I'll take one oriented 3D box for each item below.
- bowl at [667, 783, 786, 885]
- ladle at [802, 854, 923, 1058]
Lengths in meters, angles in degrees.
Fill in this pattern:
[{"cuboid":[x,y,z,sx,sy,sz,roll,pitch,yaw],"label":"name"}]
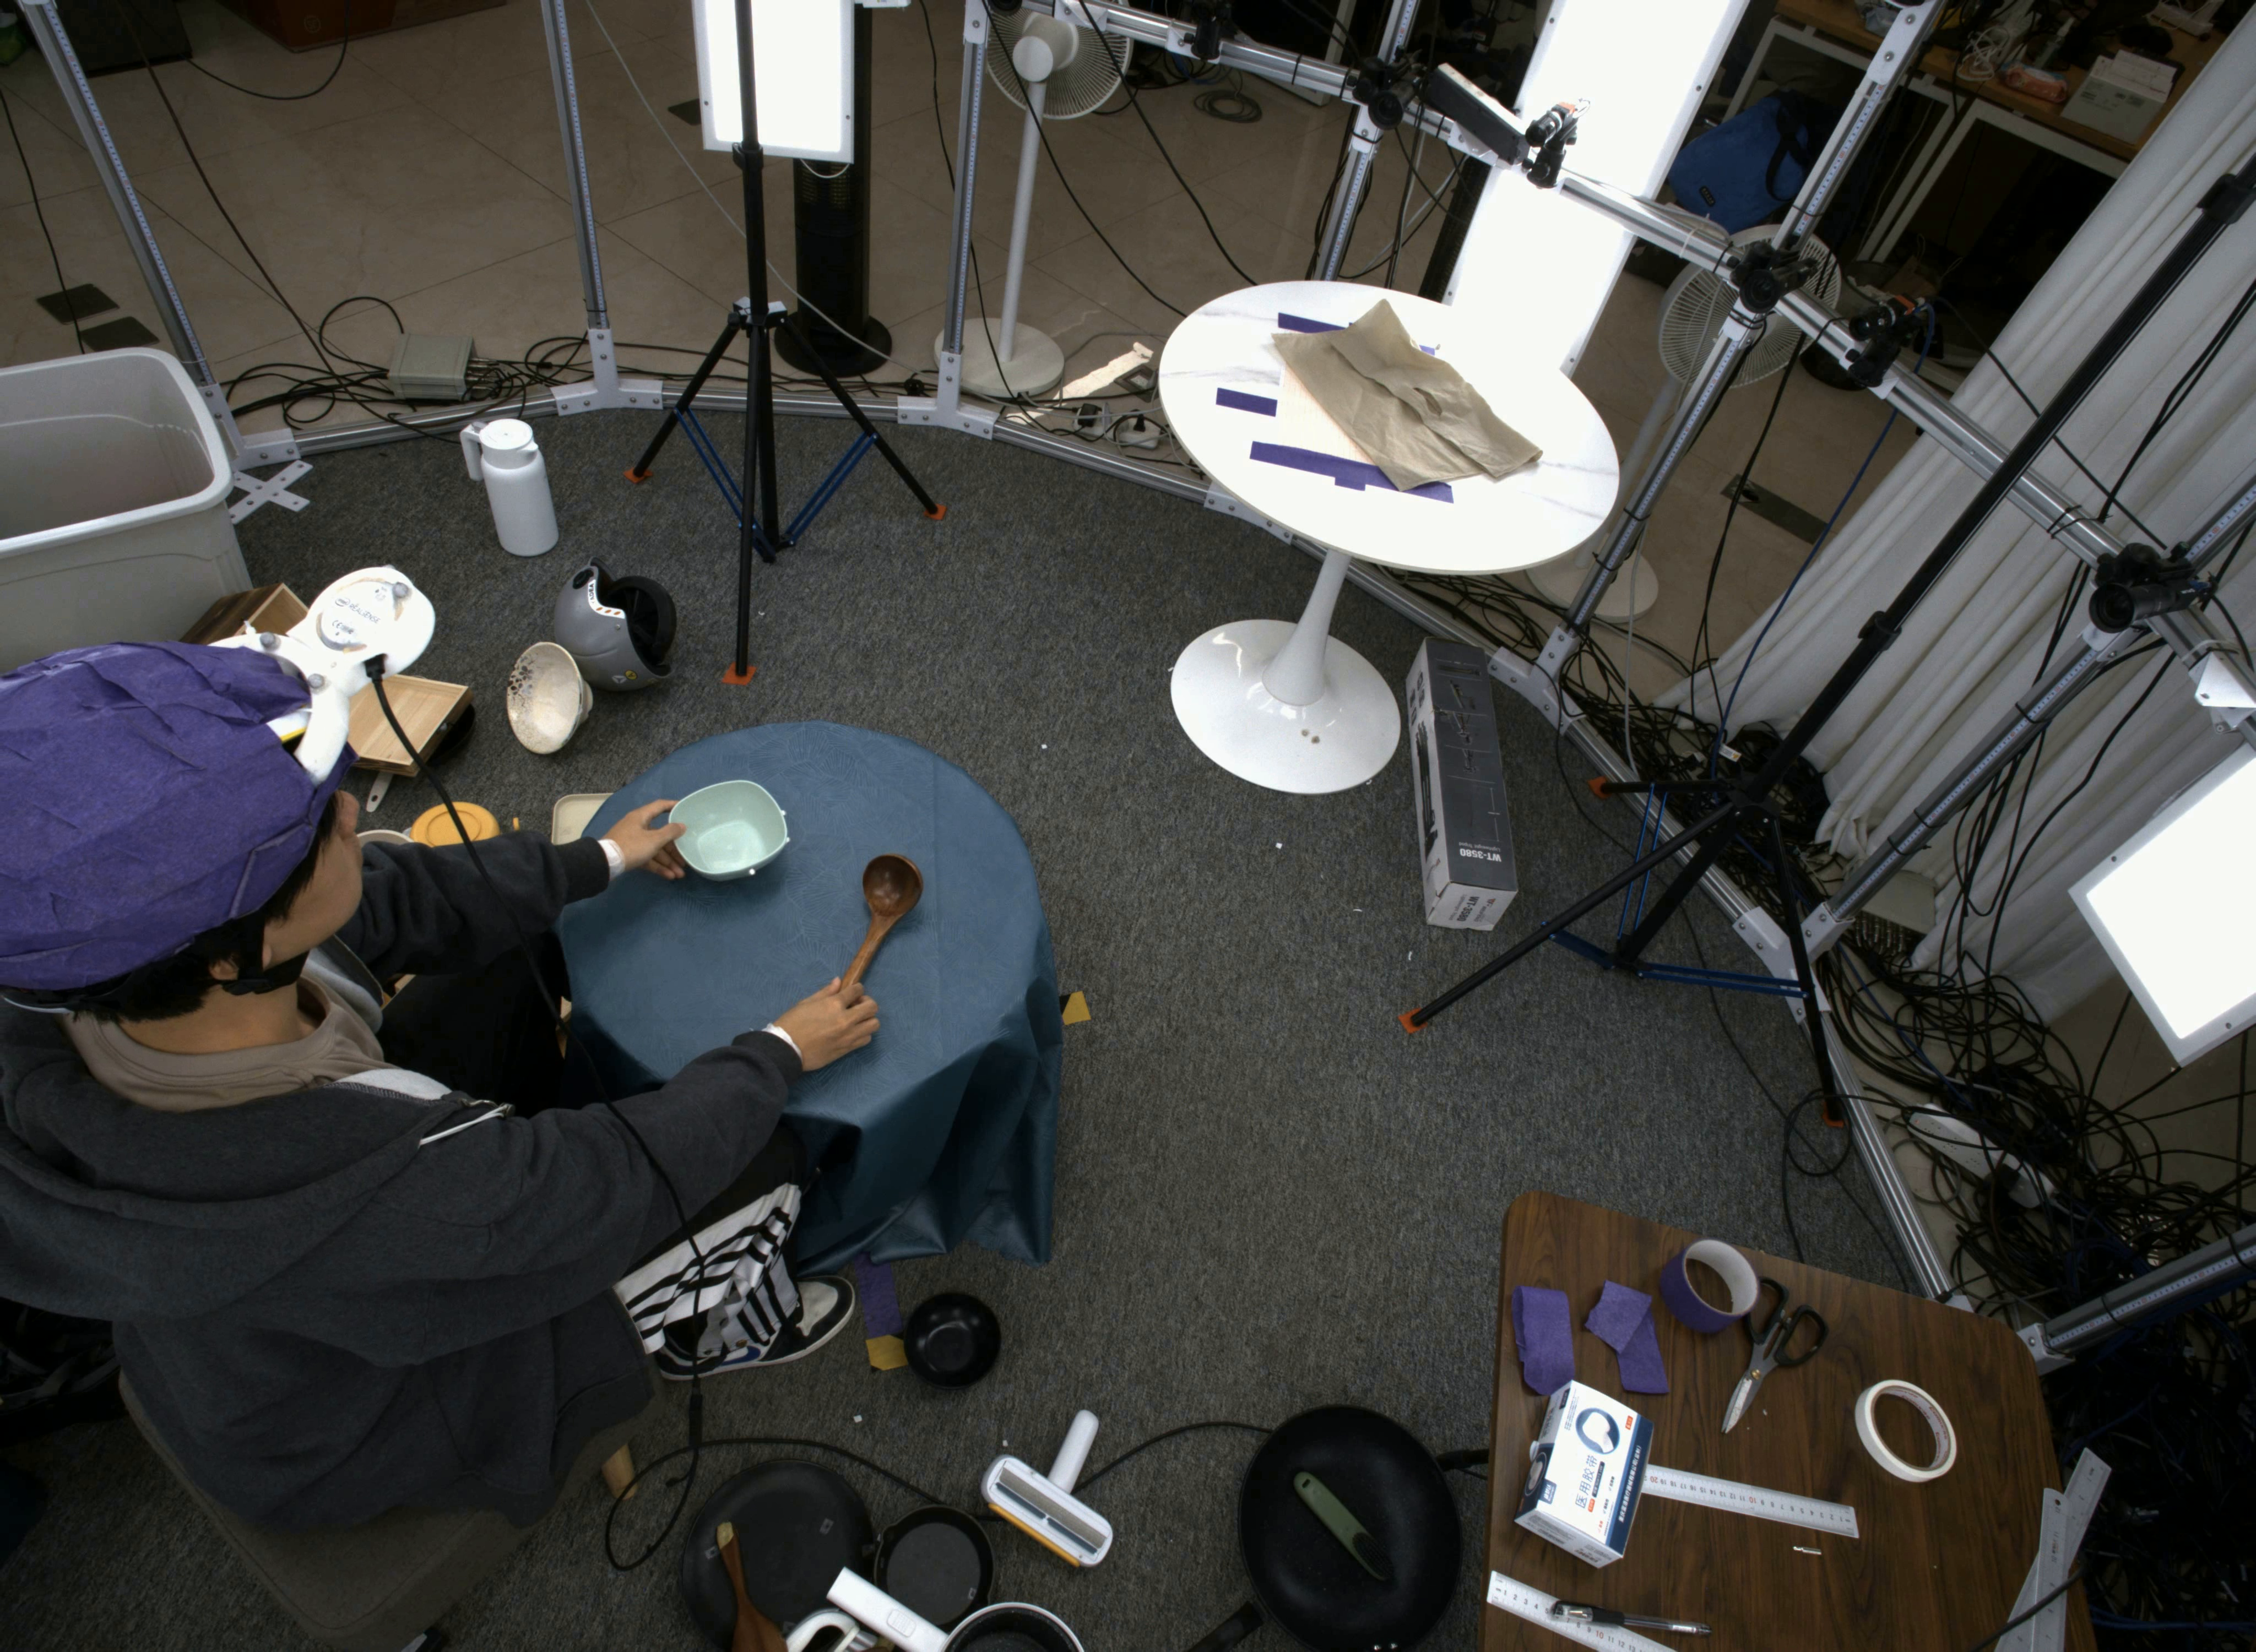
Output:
[{"cuboid":[-0.512,0.019,1.653,0.151,0.060,0.149,8,52,-9],"label":"bowl"},{"cuboid":[-0.331,0.149,1.587,0.080,0.079,0.271,12,49,15],"label":"ladle"}]
